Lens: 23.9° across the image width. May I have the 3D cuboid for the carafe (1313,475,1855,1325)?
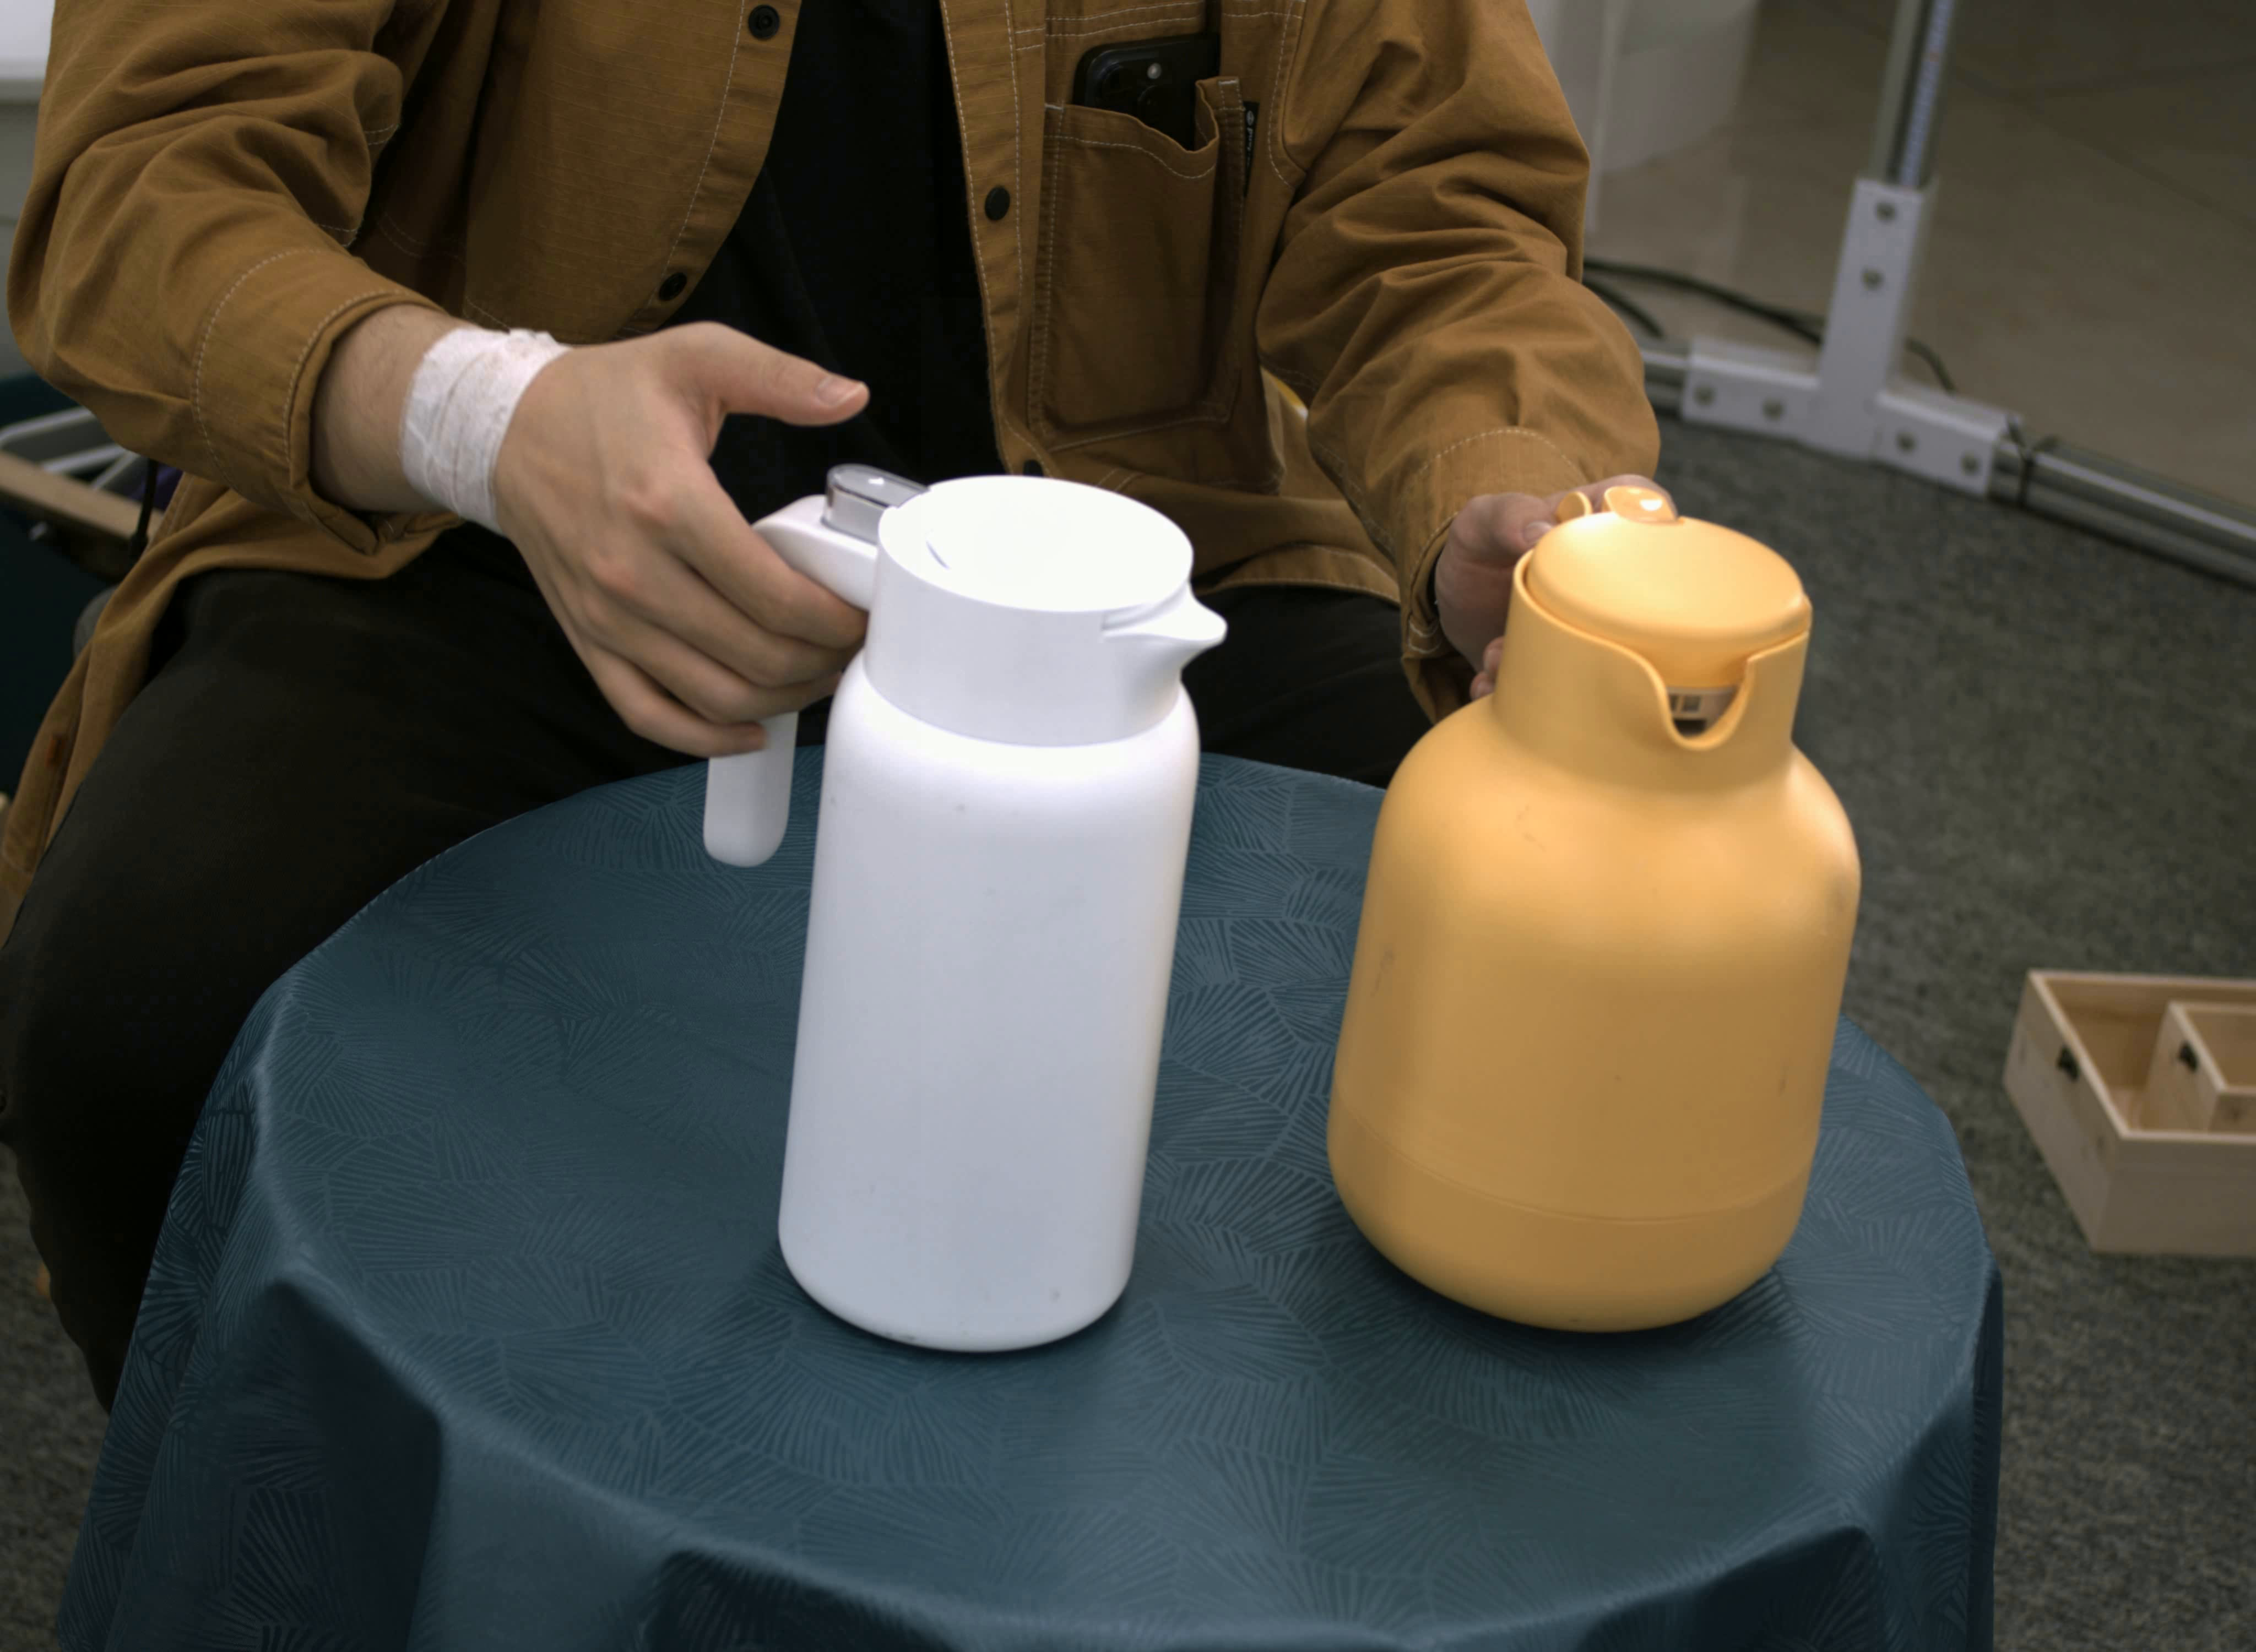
[{"bbox_3d":[0.156,0.015,1.764,0.163,0.259,0.204,7,28,-7],"label":"carafe"}]

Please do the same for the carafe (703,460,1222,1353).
[{"bbox_3d":[-0.058,0.023,1.696,0.173,0.268,0.123,19,31,25],"label":"carafe"}]
